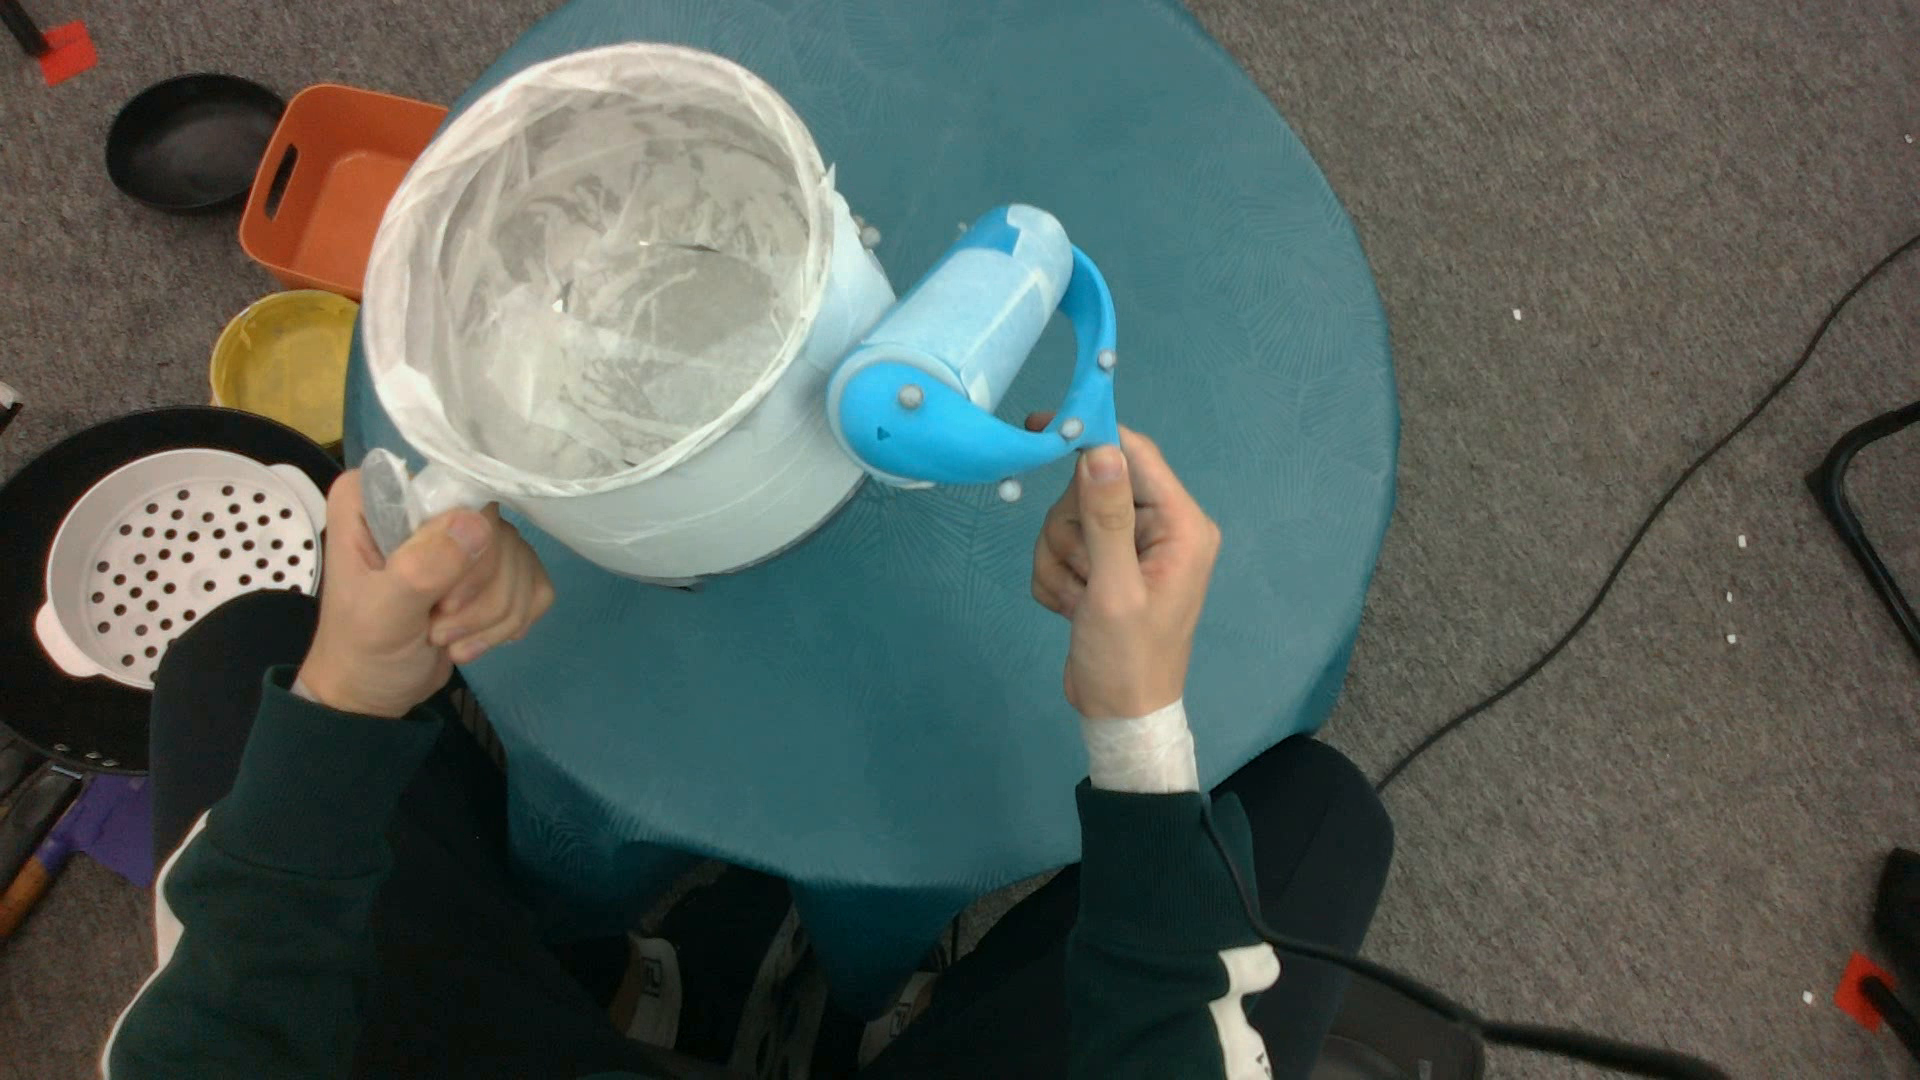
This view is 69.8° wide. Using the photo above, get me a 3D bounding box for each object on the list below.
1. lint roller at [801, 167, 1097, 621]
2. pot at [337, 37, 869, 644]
[{"bbox_3d":[0.022,-0.050,0.564,0.068,0.230,0.180,-24,114,22],"label":"lint roller"},{"bbox_3d":[-0.143,-0.061,0.538,0.179,0.136,0.234,39,83,21],"label":"pot"}]
